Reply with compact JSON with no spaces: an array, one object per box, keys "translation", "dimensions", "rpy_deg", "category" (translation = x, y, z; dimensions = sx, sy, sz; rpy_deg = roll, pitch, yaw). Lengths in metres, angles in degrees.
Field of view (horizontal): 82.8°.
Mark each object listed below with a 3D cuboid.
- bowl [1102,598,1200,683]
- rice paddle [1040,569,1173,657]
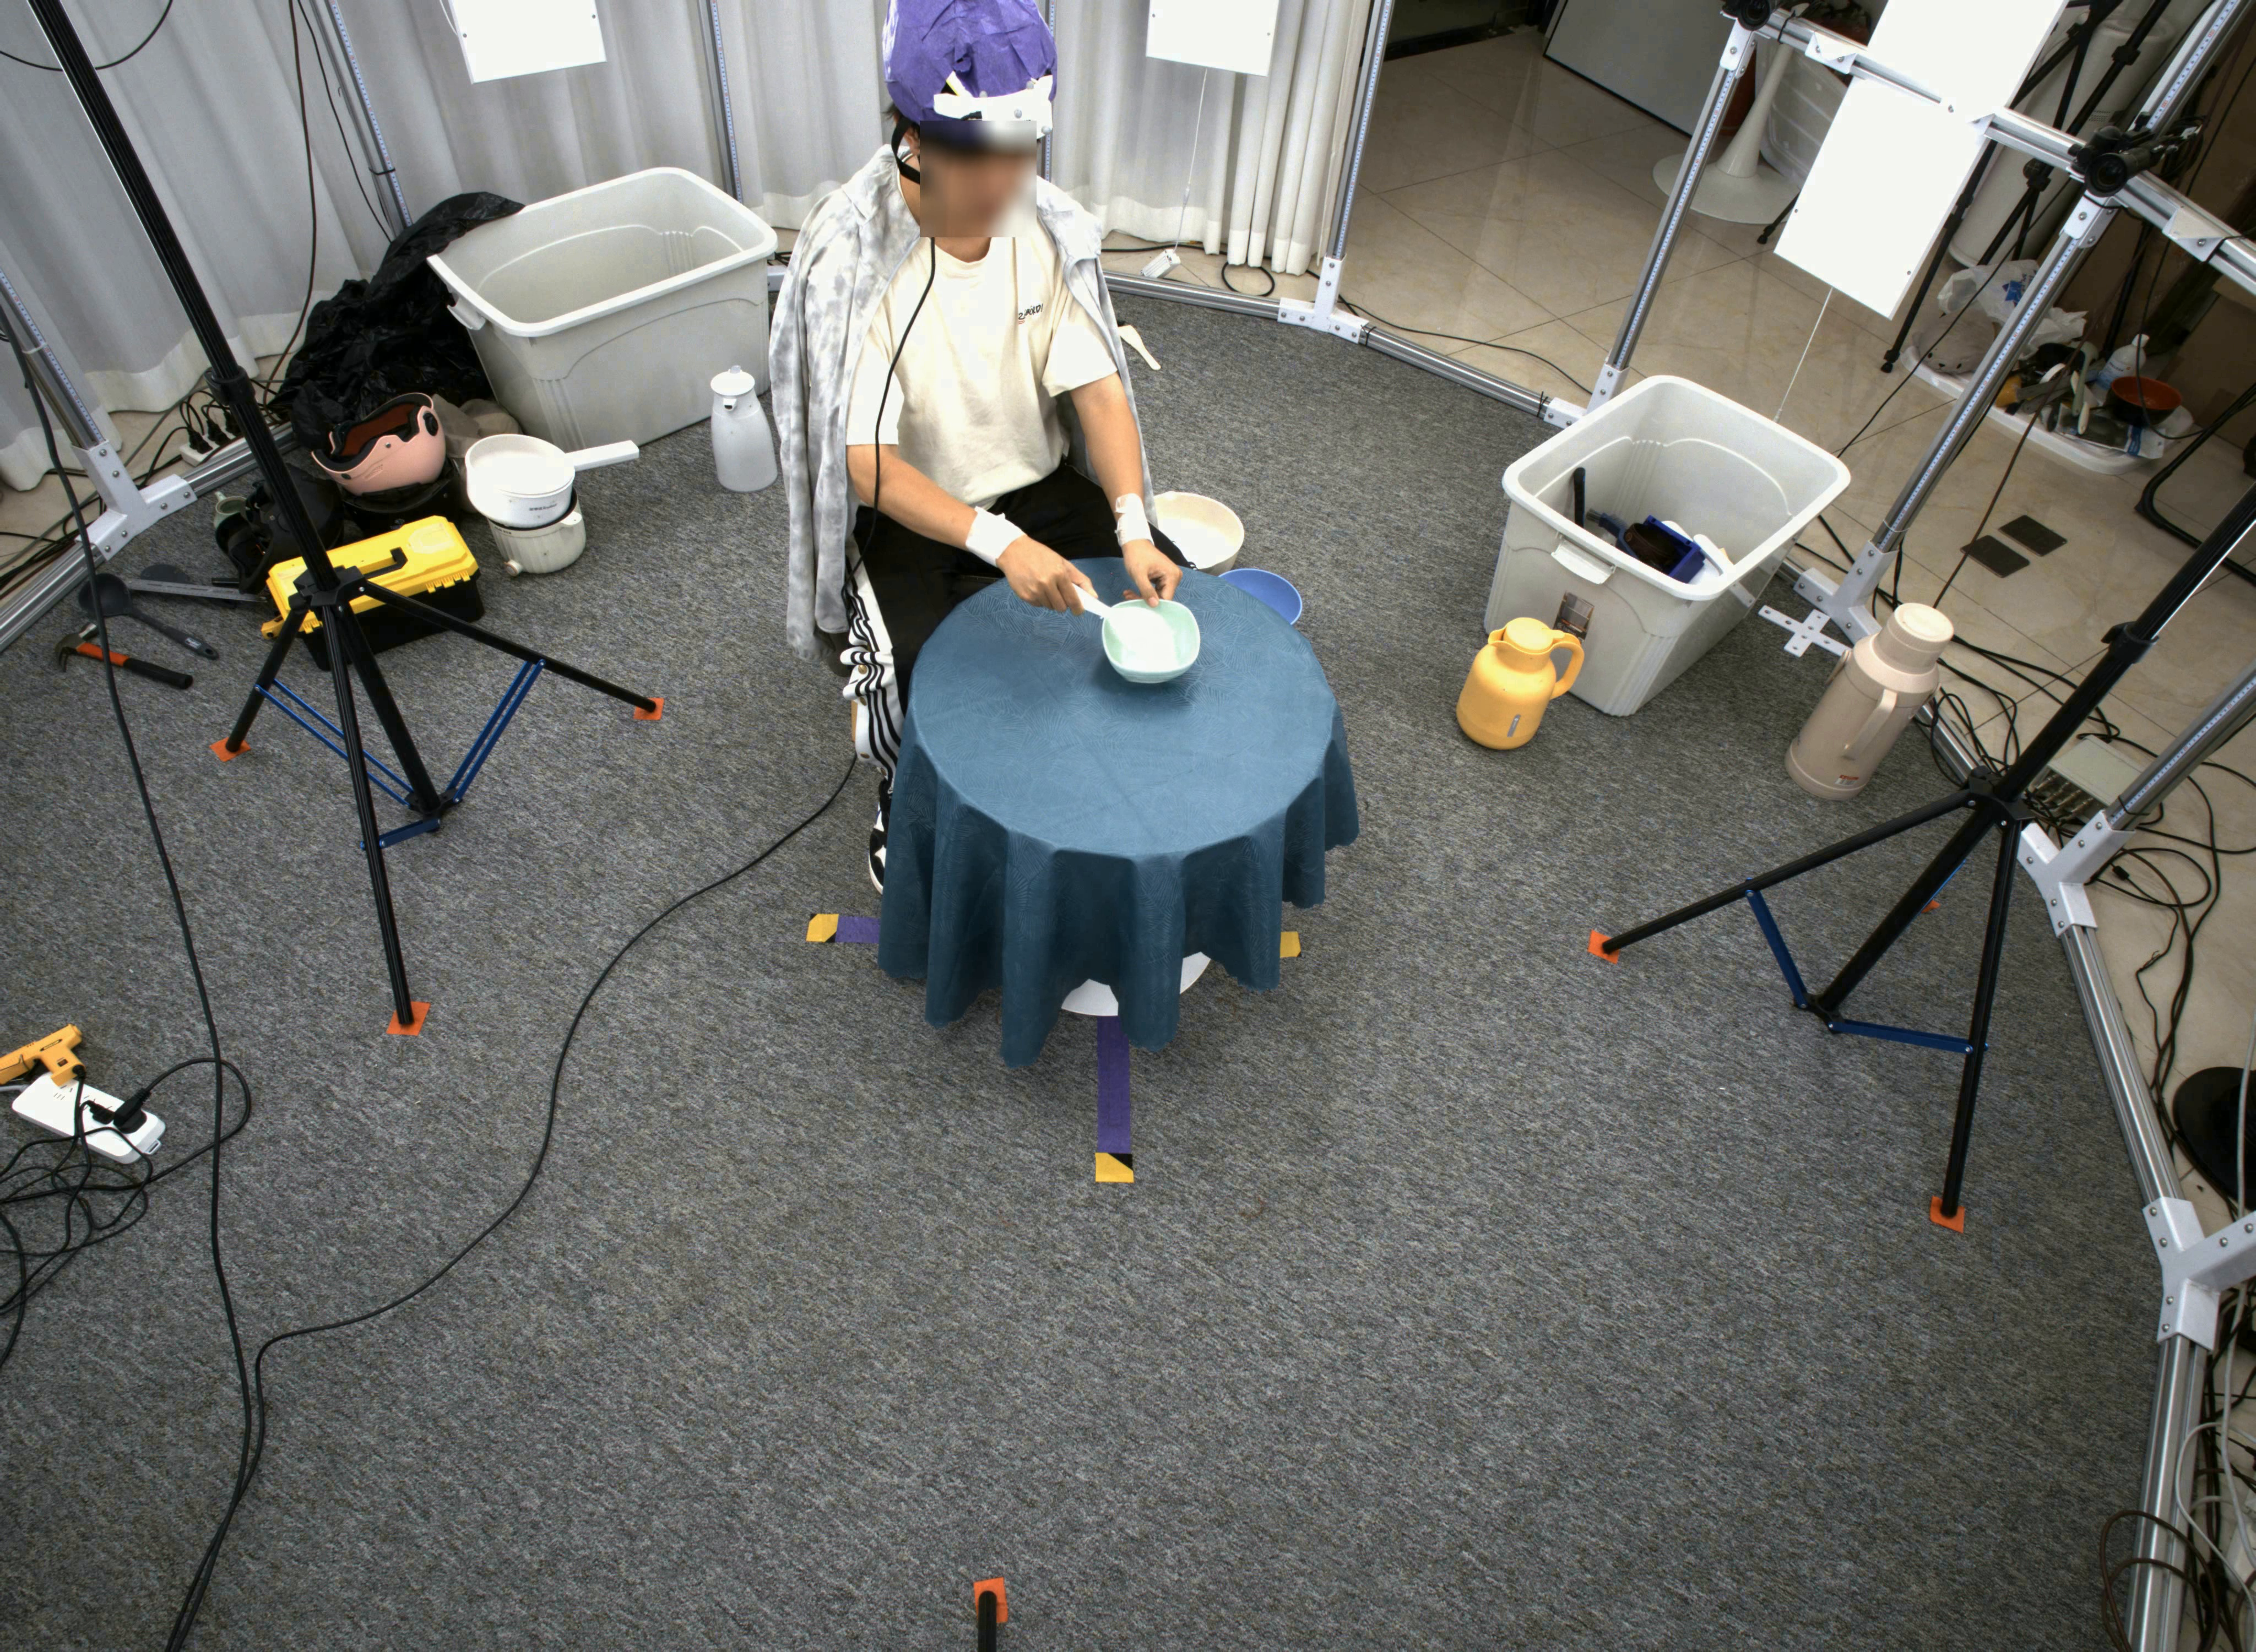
[{"translation":[0.032,-0.257,1.845],"dimensions":[0.151,0.057,0.155],"rpy_deg":[1,56,-2],"category":"bowl"},{"translation":[-0.026,-0.300,1.801],"dimensions":[0.204,0.029,0.070],"rpy_deg":[26,70,-12],"category":"rice paddle"}]
